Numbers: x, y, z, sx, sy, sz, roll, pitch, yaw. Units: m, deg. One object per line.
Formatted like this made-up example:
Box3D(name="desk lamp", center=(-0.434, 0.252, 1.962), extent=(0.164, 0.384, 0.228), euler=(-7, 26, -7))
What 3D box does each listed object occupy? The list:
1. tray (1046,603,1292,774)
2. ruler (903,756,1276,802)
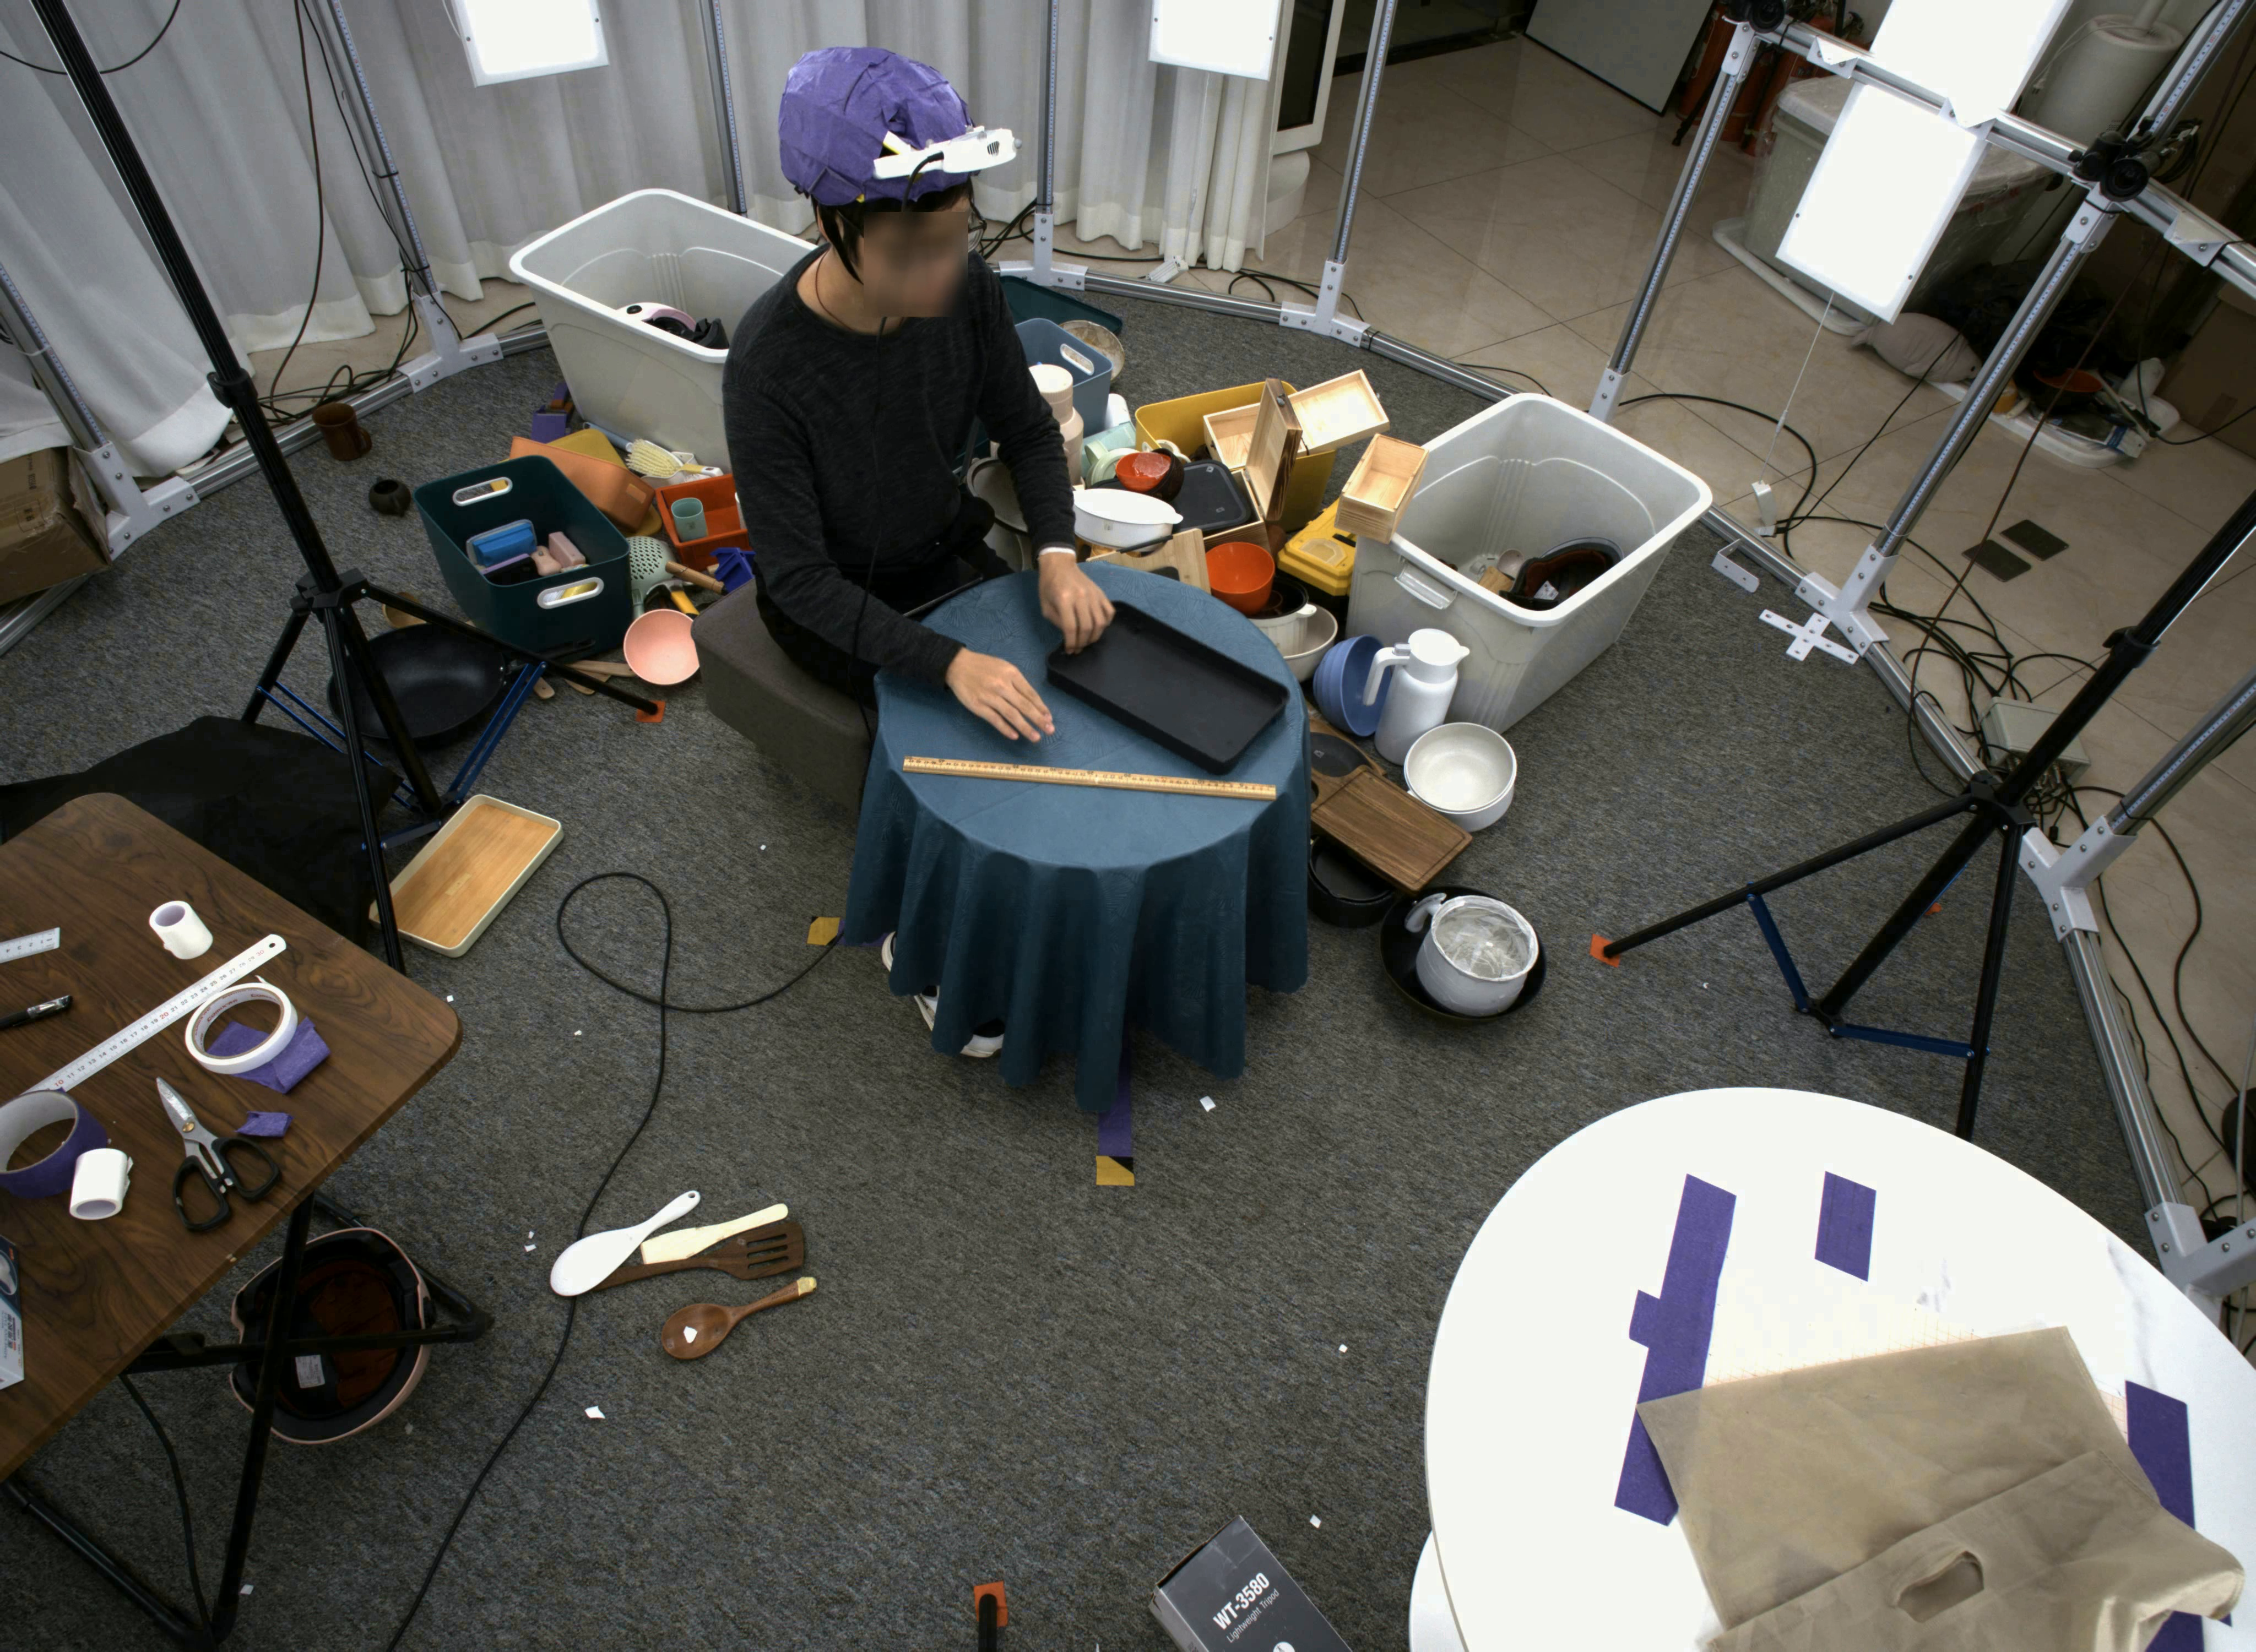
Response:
Box3D(name="tray", center=(0.057, -0.200, 1.824), extent=(0.321, 0.036, 0.187), euler=(28, 53, 19))
Box3D(name="ruler", center=(-0.051, -0.064, 1.719), extent=(0.500, 0.006, 0.027), euler=(5, 47, 0))
